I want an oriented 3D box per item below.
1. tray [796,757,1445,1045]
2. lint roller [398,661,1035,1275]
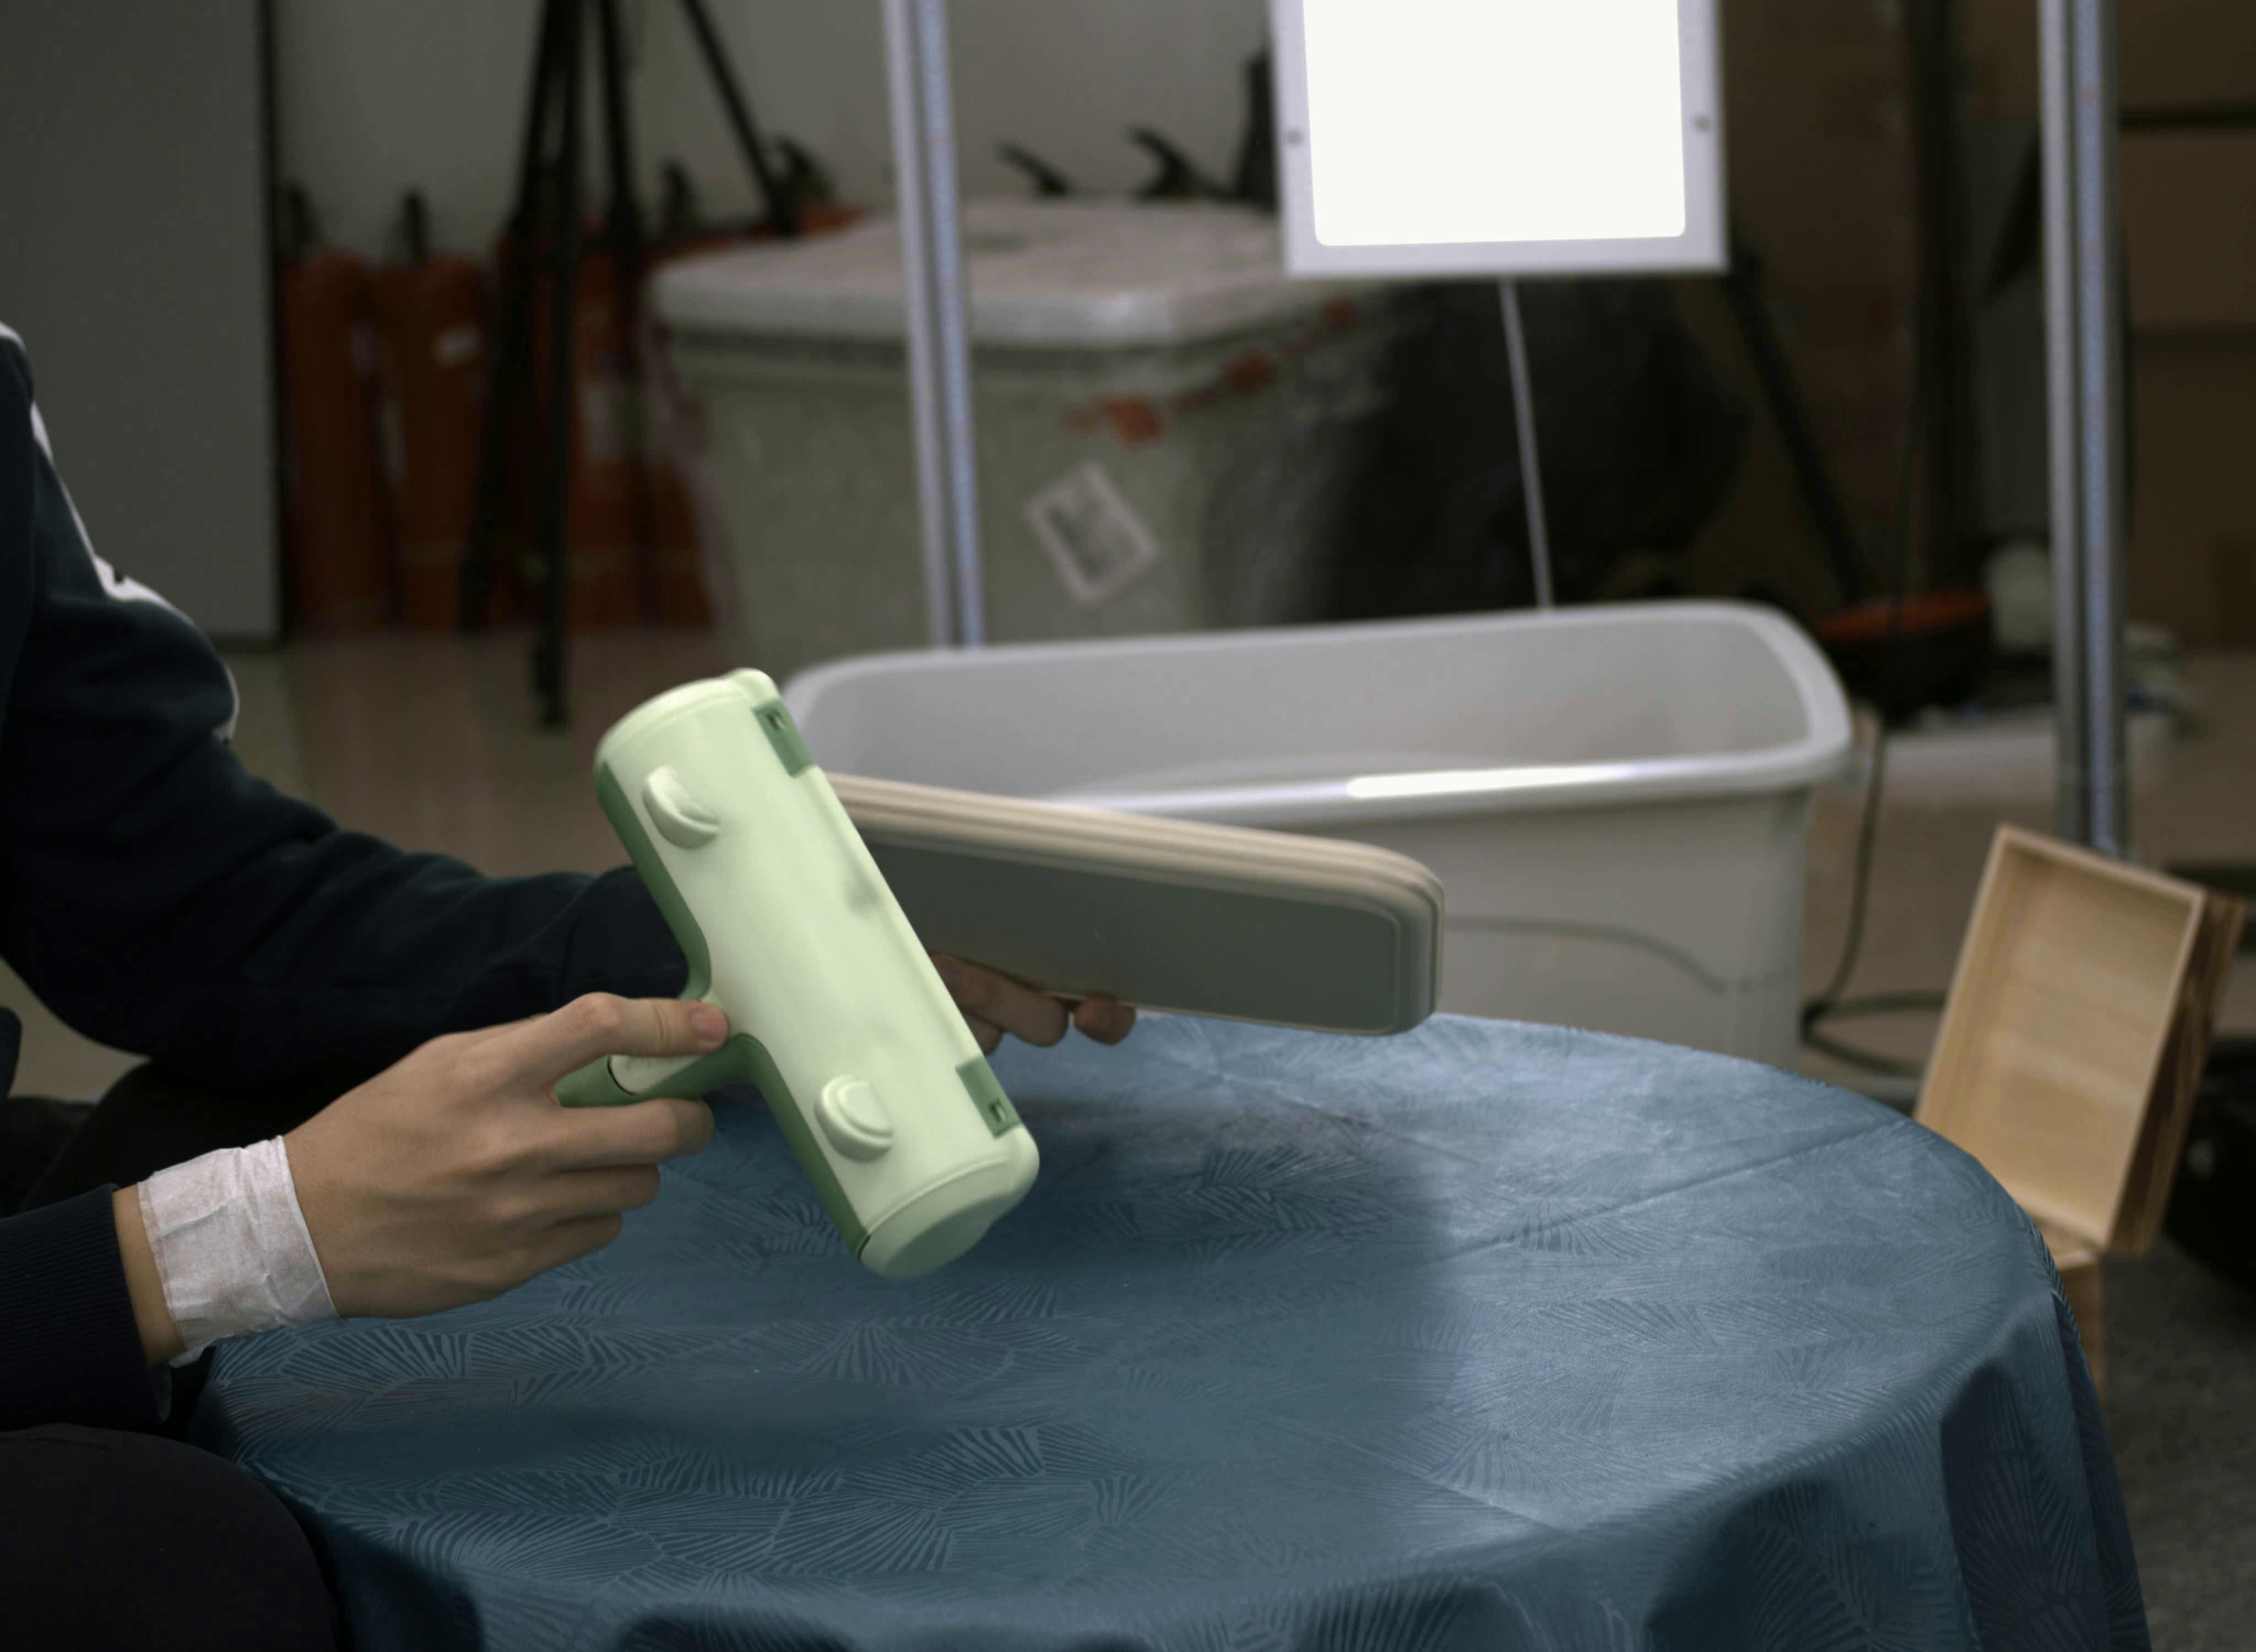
[{"bbox_3d":[-0.010,0.030,1.902,0.240,0.017,0.171,8,-23,8],"label":"tray"},{"bbox_3d":[-0.152,0.070,1.709,0.183,0.200,0.082,-30,-17,-2],"label":"lint roller"}]
